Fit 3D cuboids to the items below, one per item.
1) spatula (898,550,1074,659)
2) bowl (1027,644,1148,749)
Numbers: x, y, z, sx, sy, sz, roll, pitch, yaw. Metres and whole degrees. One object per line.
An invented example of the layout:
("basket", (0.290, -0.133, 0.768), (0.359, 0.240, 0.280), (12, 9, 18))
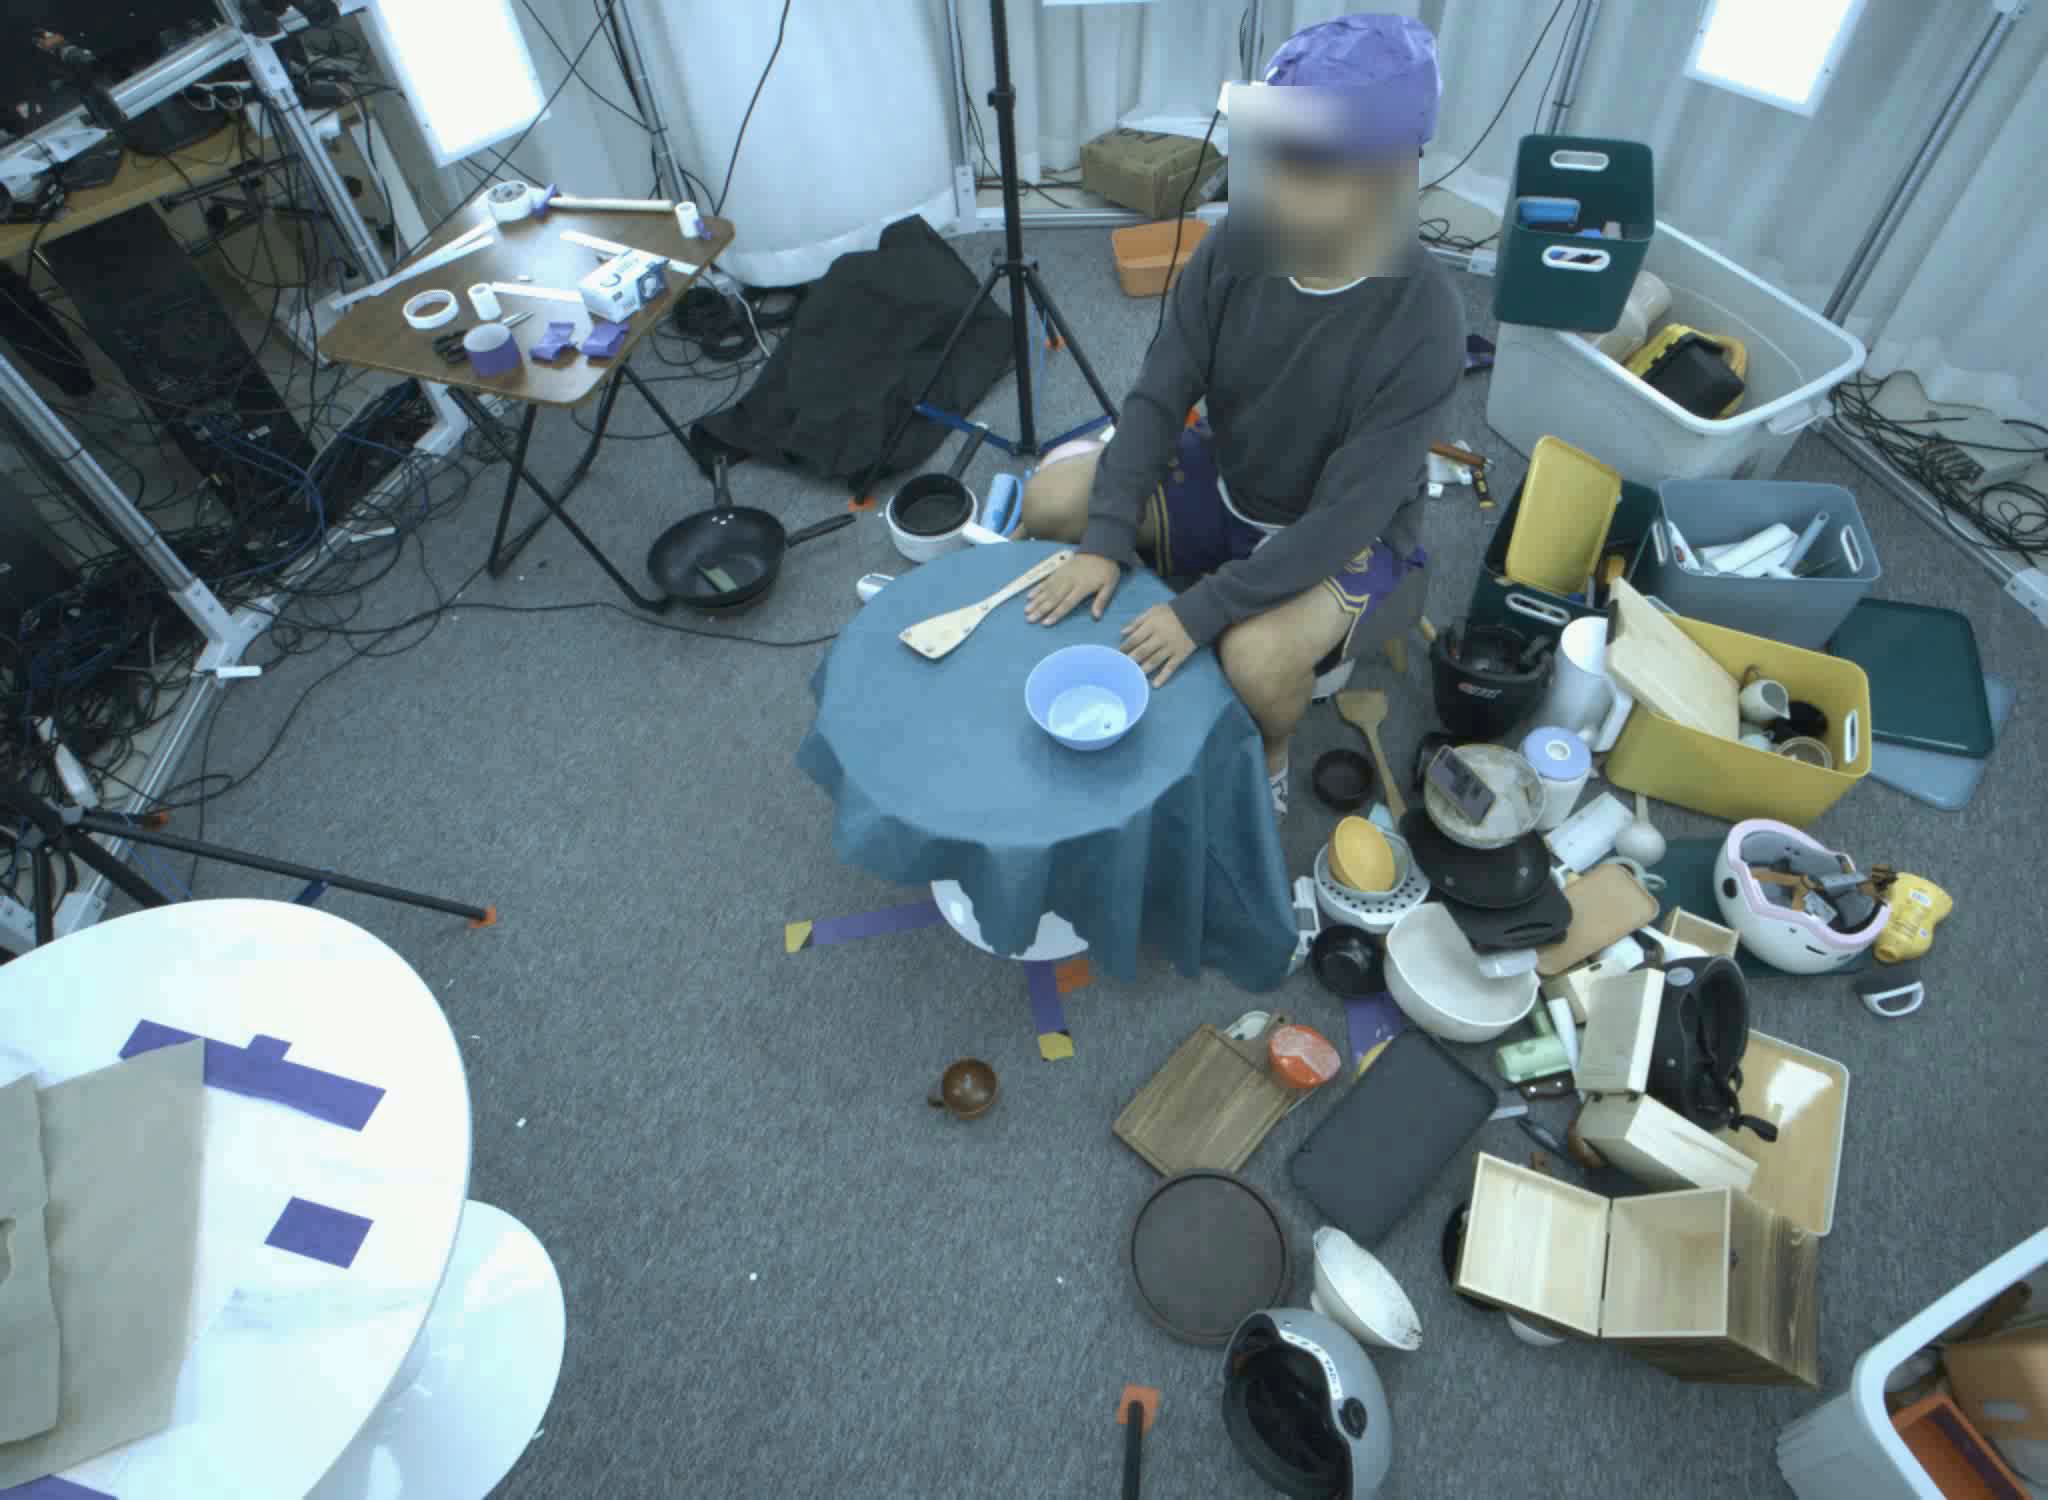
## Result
("spatula", (-0.048, -0.238, 1.951), (0.330, 0.017, 0.078), (-34, 60, -21))
("bowl", (0.093, -0.067, 1.791), (0.176, 0.071, 0.174), (-1, 55, 2))
